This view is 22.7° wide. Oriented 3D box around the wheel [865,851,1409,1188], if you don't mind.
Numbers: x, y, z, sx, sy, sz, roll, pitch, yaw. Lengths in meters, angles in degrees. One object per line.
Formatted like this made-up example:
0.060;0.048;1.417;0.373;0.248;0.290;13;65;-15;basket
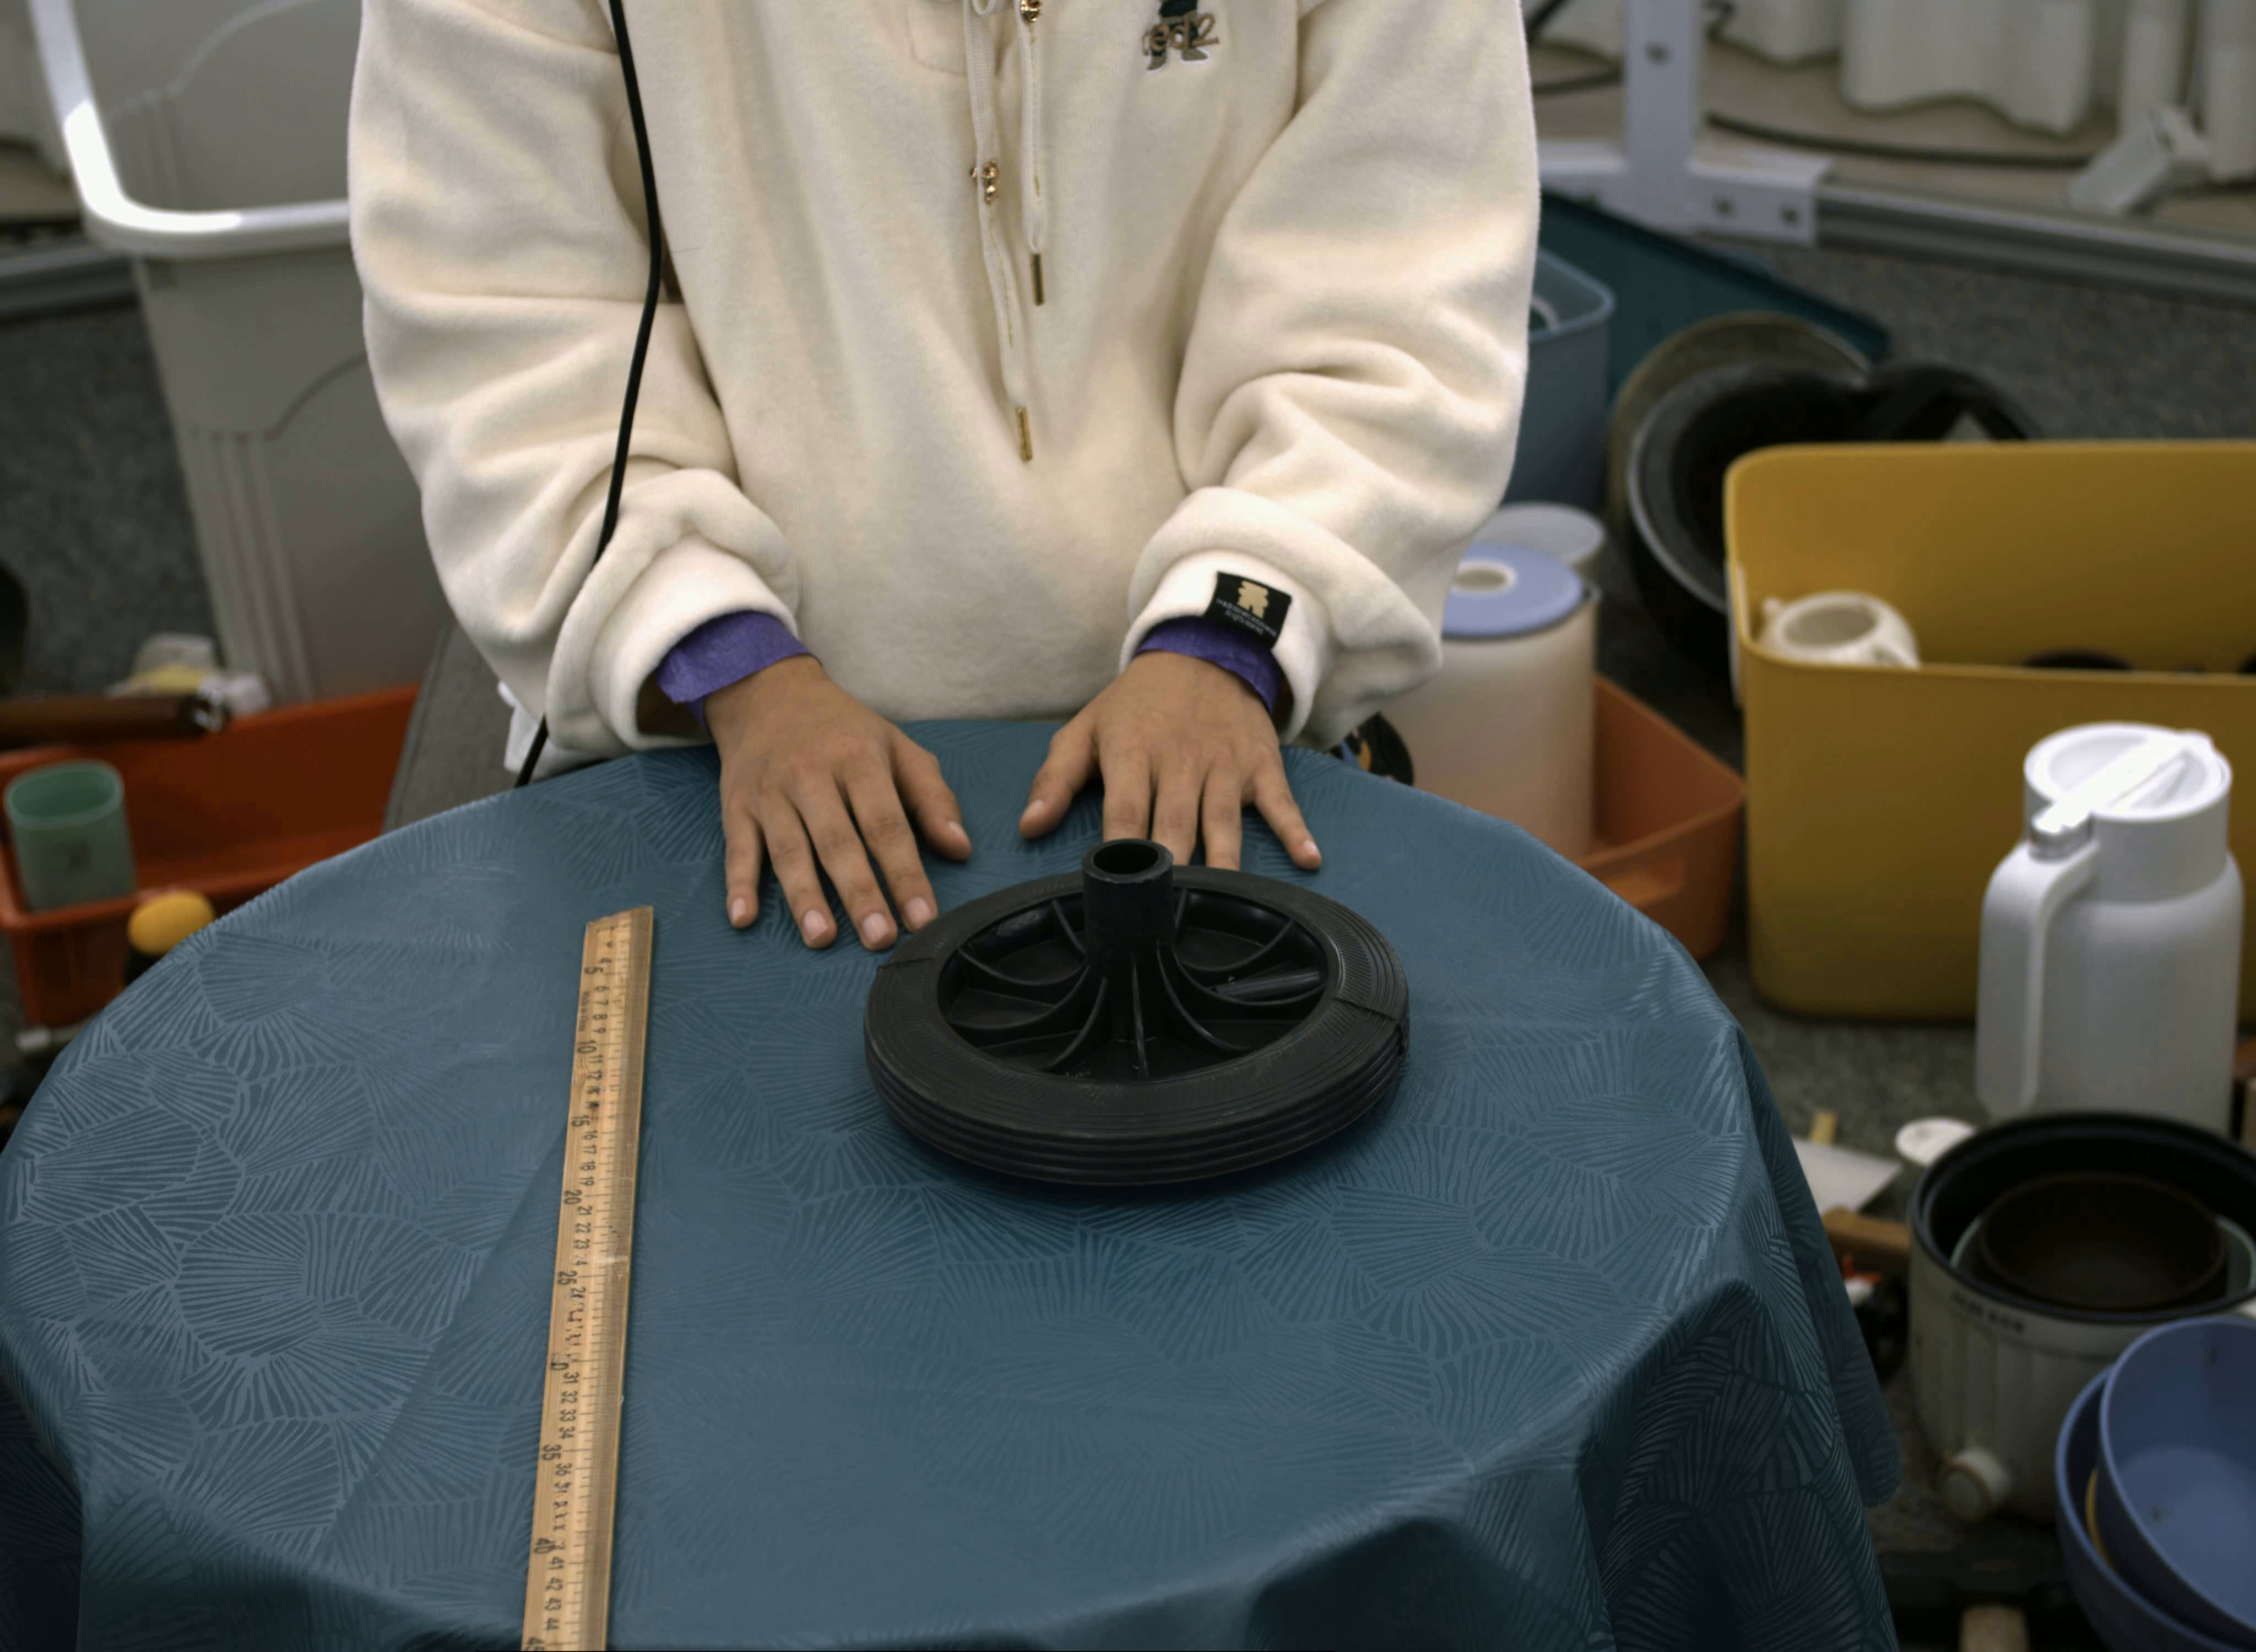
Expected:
0.002;0.050;1.918;0.191;0.078;0.187;-21;32;-32;wheel

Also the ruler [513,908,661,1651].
-0.174;0.148;1.822;0.026;0.006;0.508;-5;27;0;ruler
